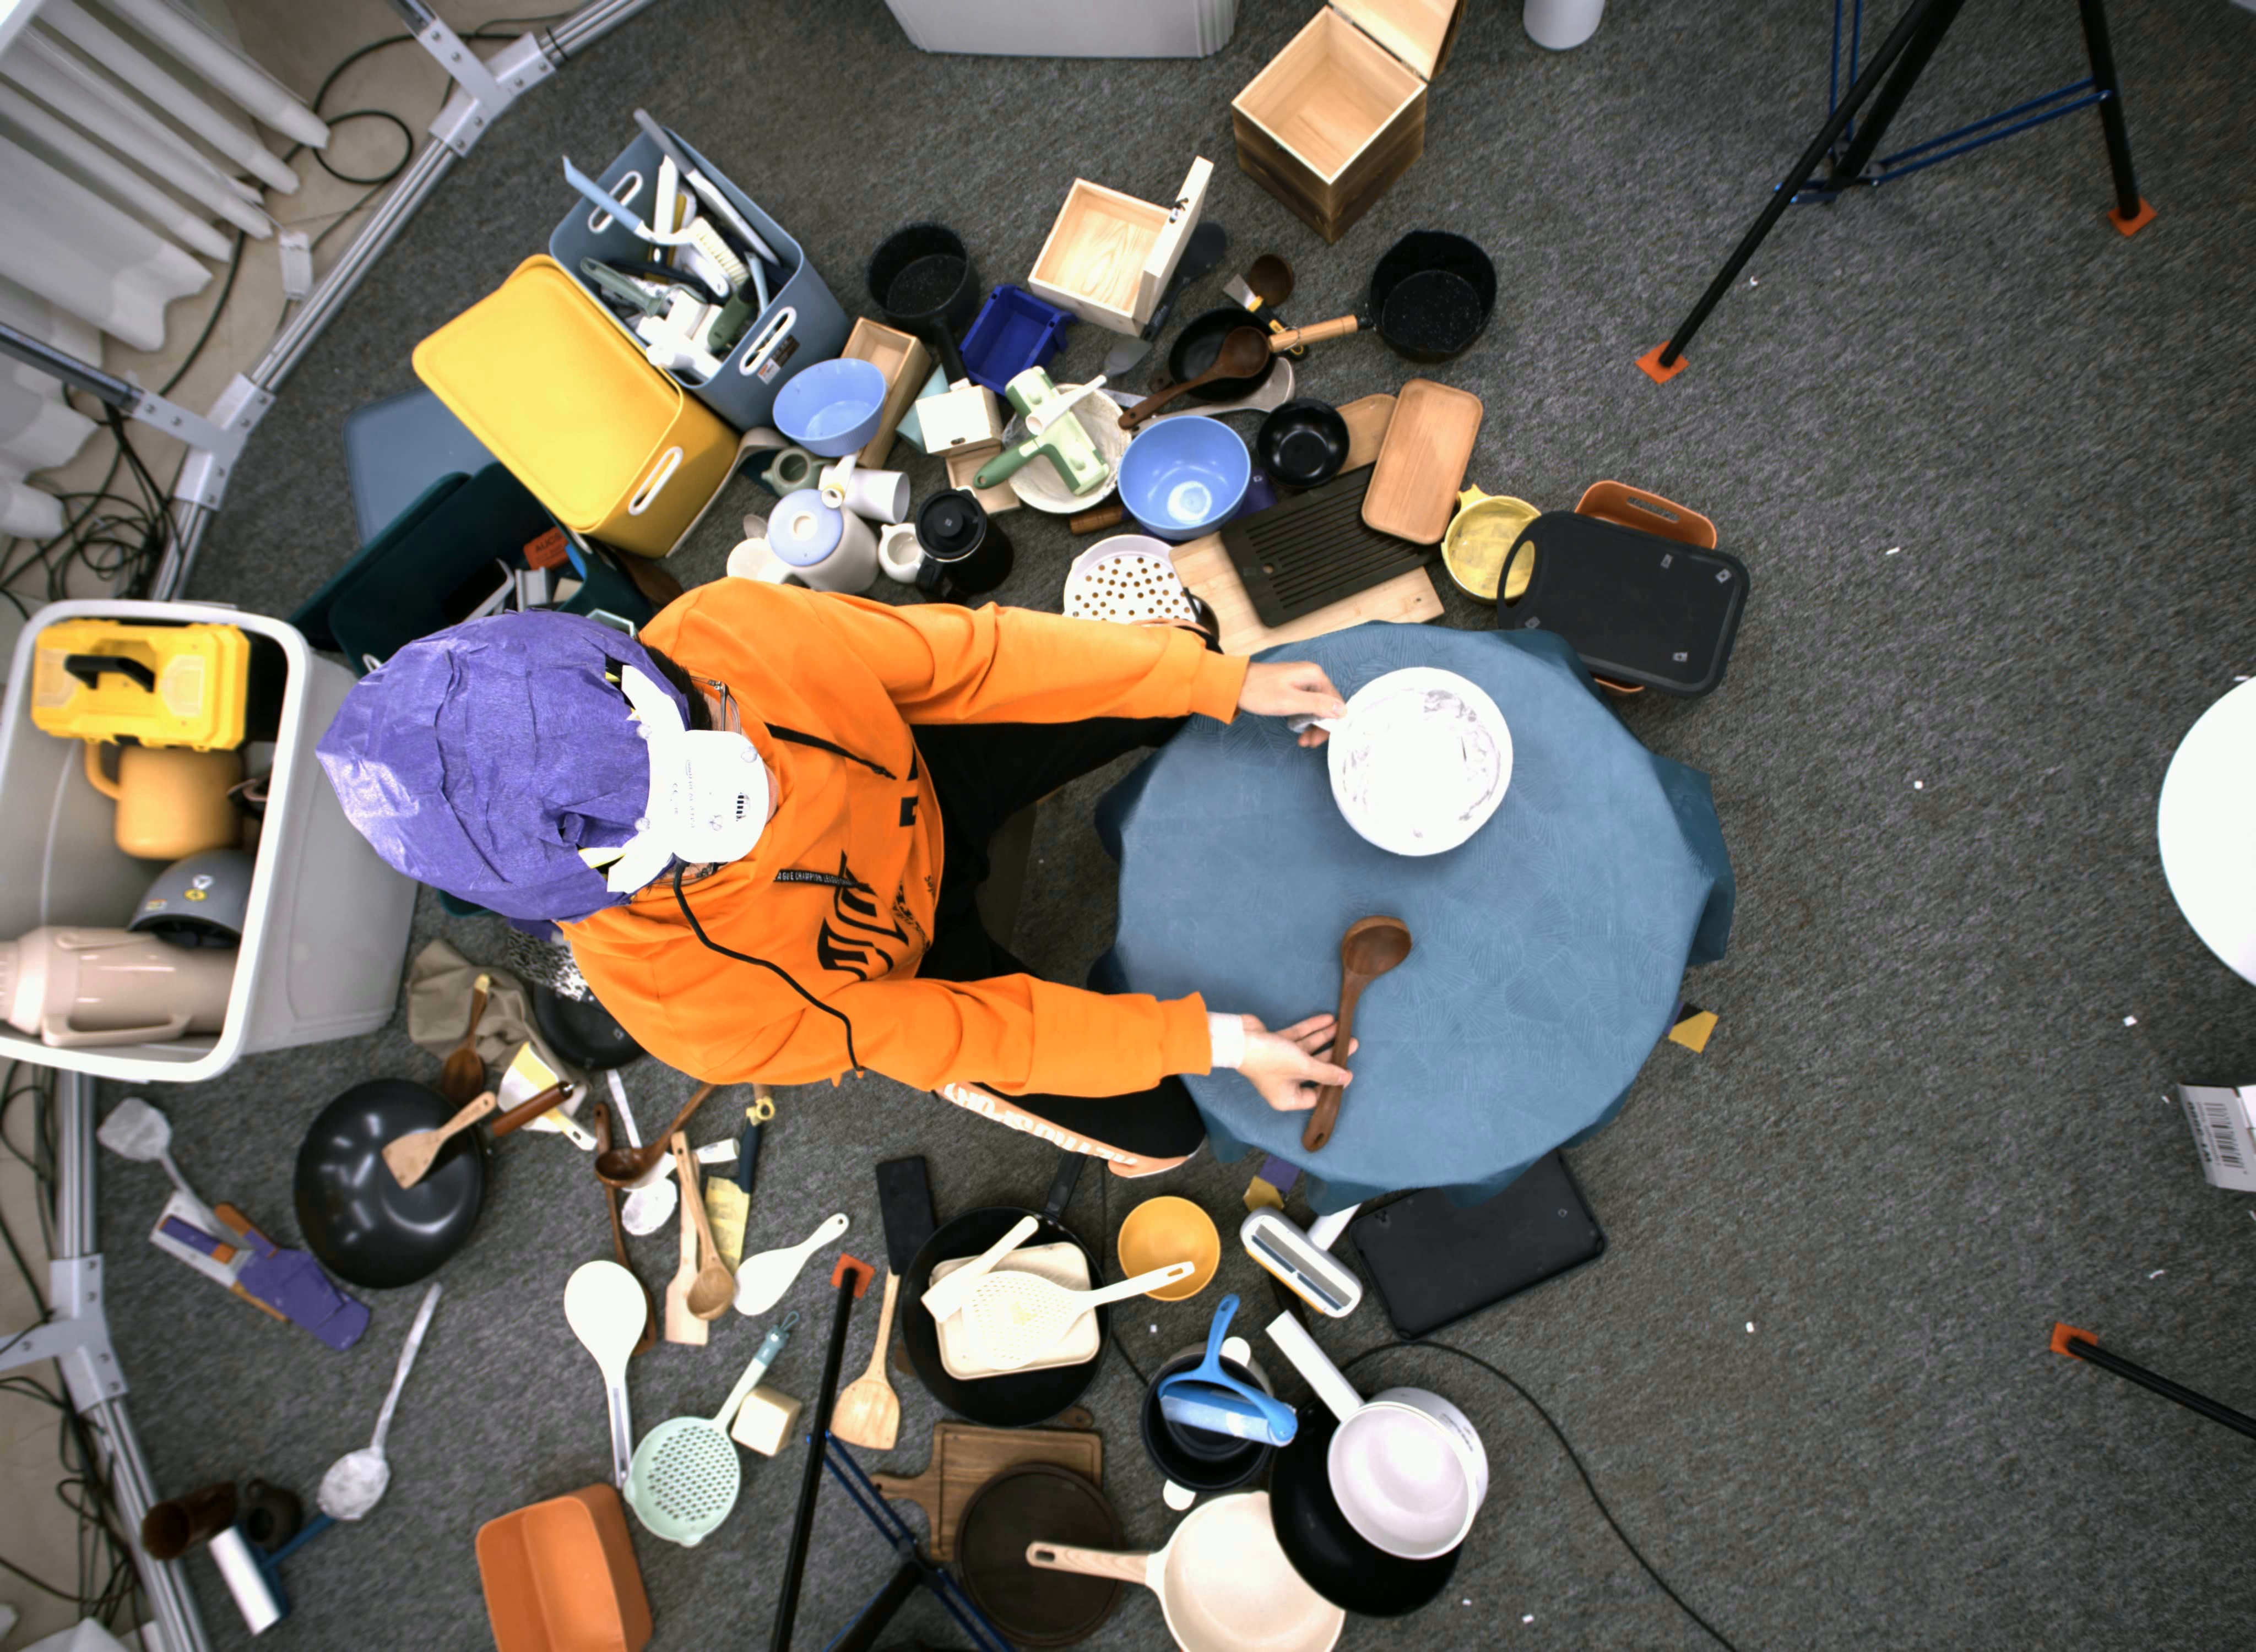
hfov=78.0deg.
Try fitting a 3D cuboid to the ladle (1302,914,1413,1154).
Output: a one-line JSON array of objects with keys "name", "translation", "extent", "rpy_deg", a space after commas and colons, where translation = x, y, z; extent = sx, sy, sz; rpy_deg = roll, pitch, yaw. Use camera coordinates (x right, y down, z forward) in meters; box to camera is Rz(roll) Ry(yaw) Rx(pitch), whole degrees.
[{"name": "ladle", "translation": [0.231, 0.215, 1.428], "extent": [0.076, 0.065, 0.259], "rpy_deg": [15, 89, -17]}]

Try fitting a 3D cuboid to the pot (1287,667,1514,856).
[{"name": "pot", "translation": [0.269, -0.074, 1.399], "extent": [0.233, 0.137, 0.179], "rpy_deg": [26, 90, 11]}]
